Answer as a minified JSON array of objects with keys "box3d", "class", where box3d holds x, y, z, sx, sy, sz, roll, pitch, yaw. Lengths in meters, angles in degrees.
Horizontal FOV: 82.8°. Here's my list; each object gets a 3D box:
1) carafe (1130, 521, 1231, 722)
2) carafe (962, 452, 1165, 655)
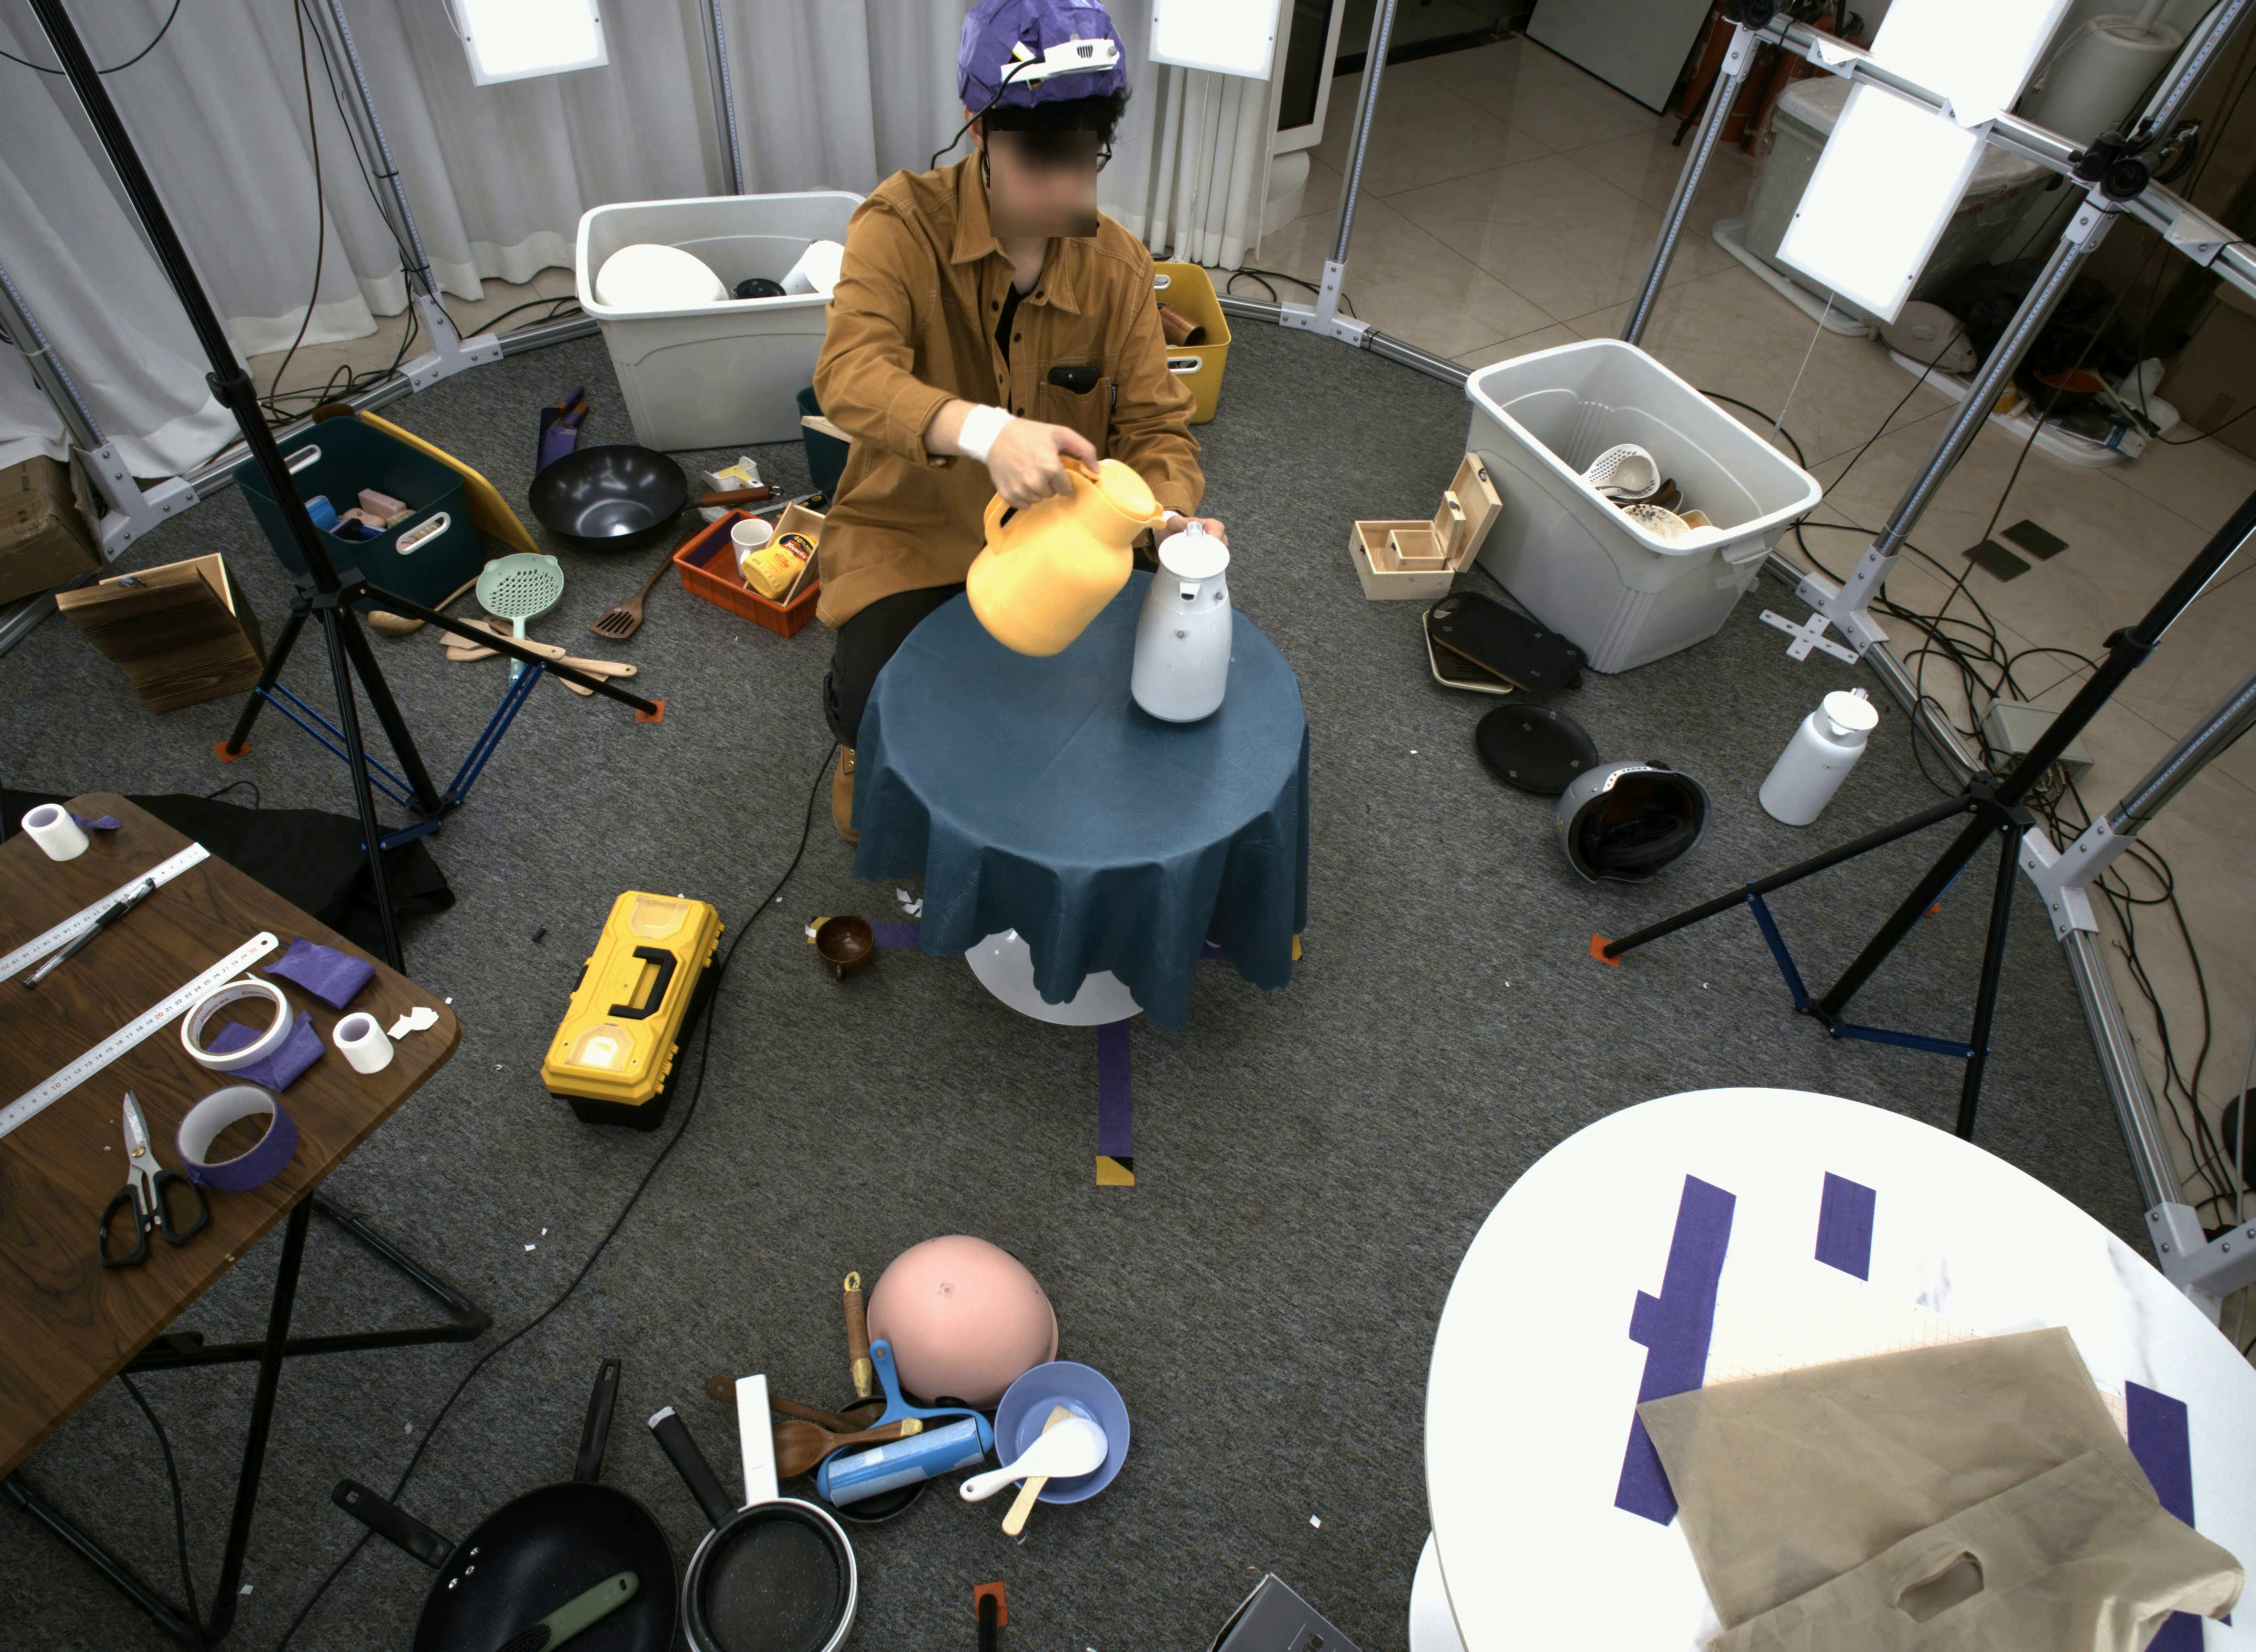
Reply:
[{"box3d":[0.077,-0.287,1.730,0.132,0.242,0.172,7,48,2],"class":"carafe"},{"box3d":[-0.094,-0.348,1.590,0.200,0.257,0.167,24,43,-33],"class":"carafe"}]
